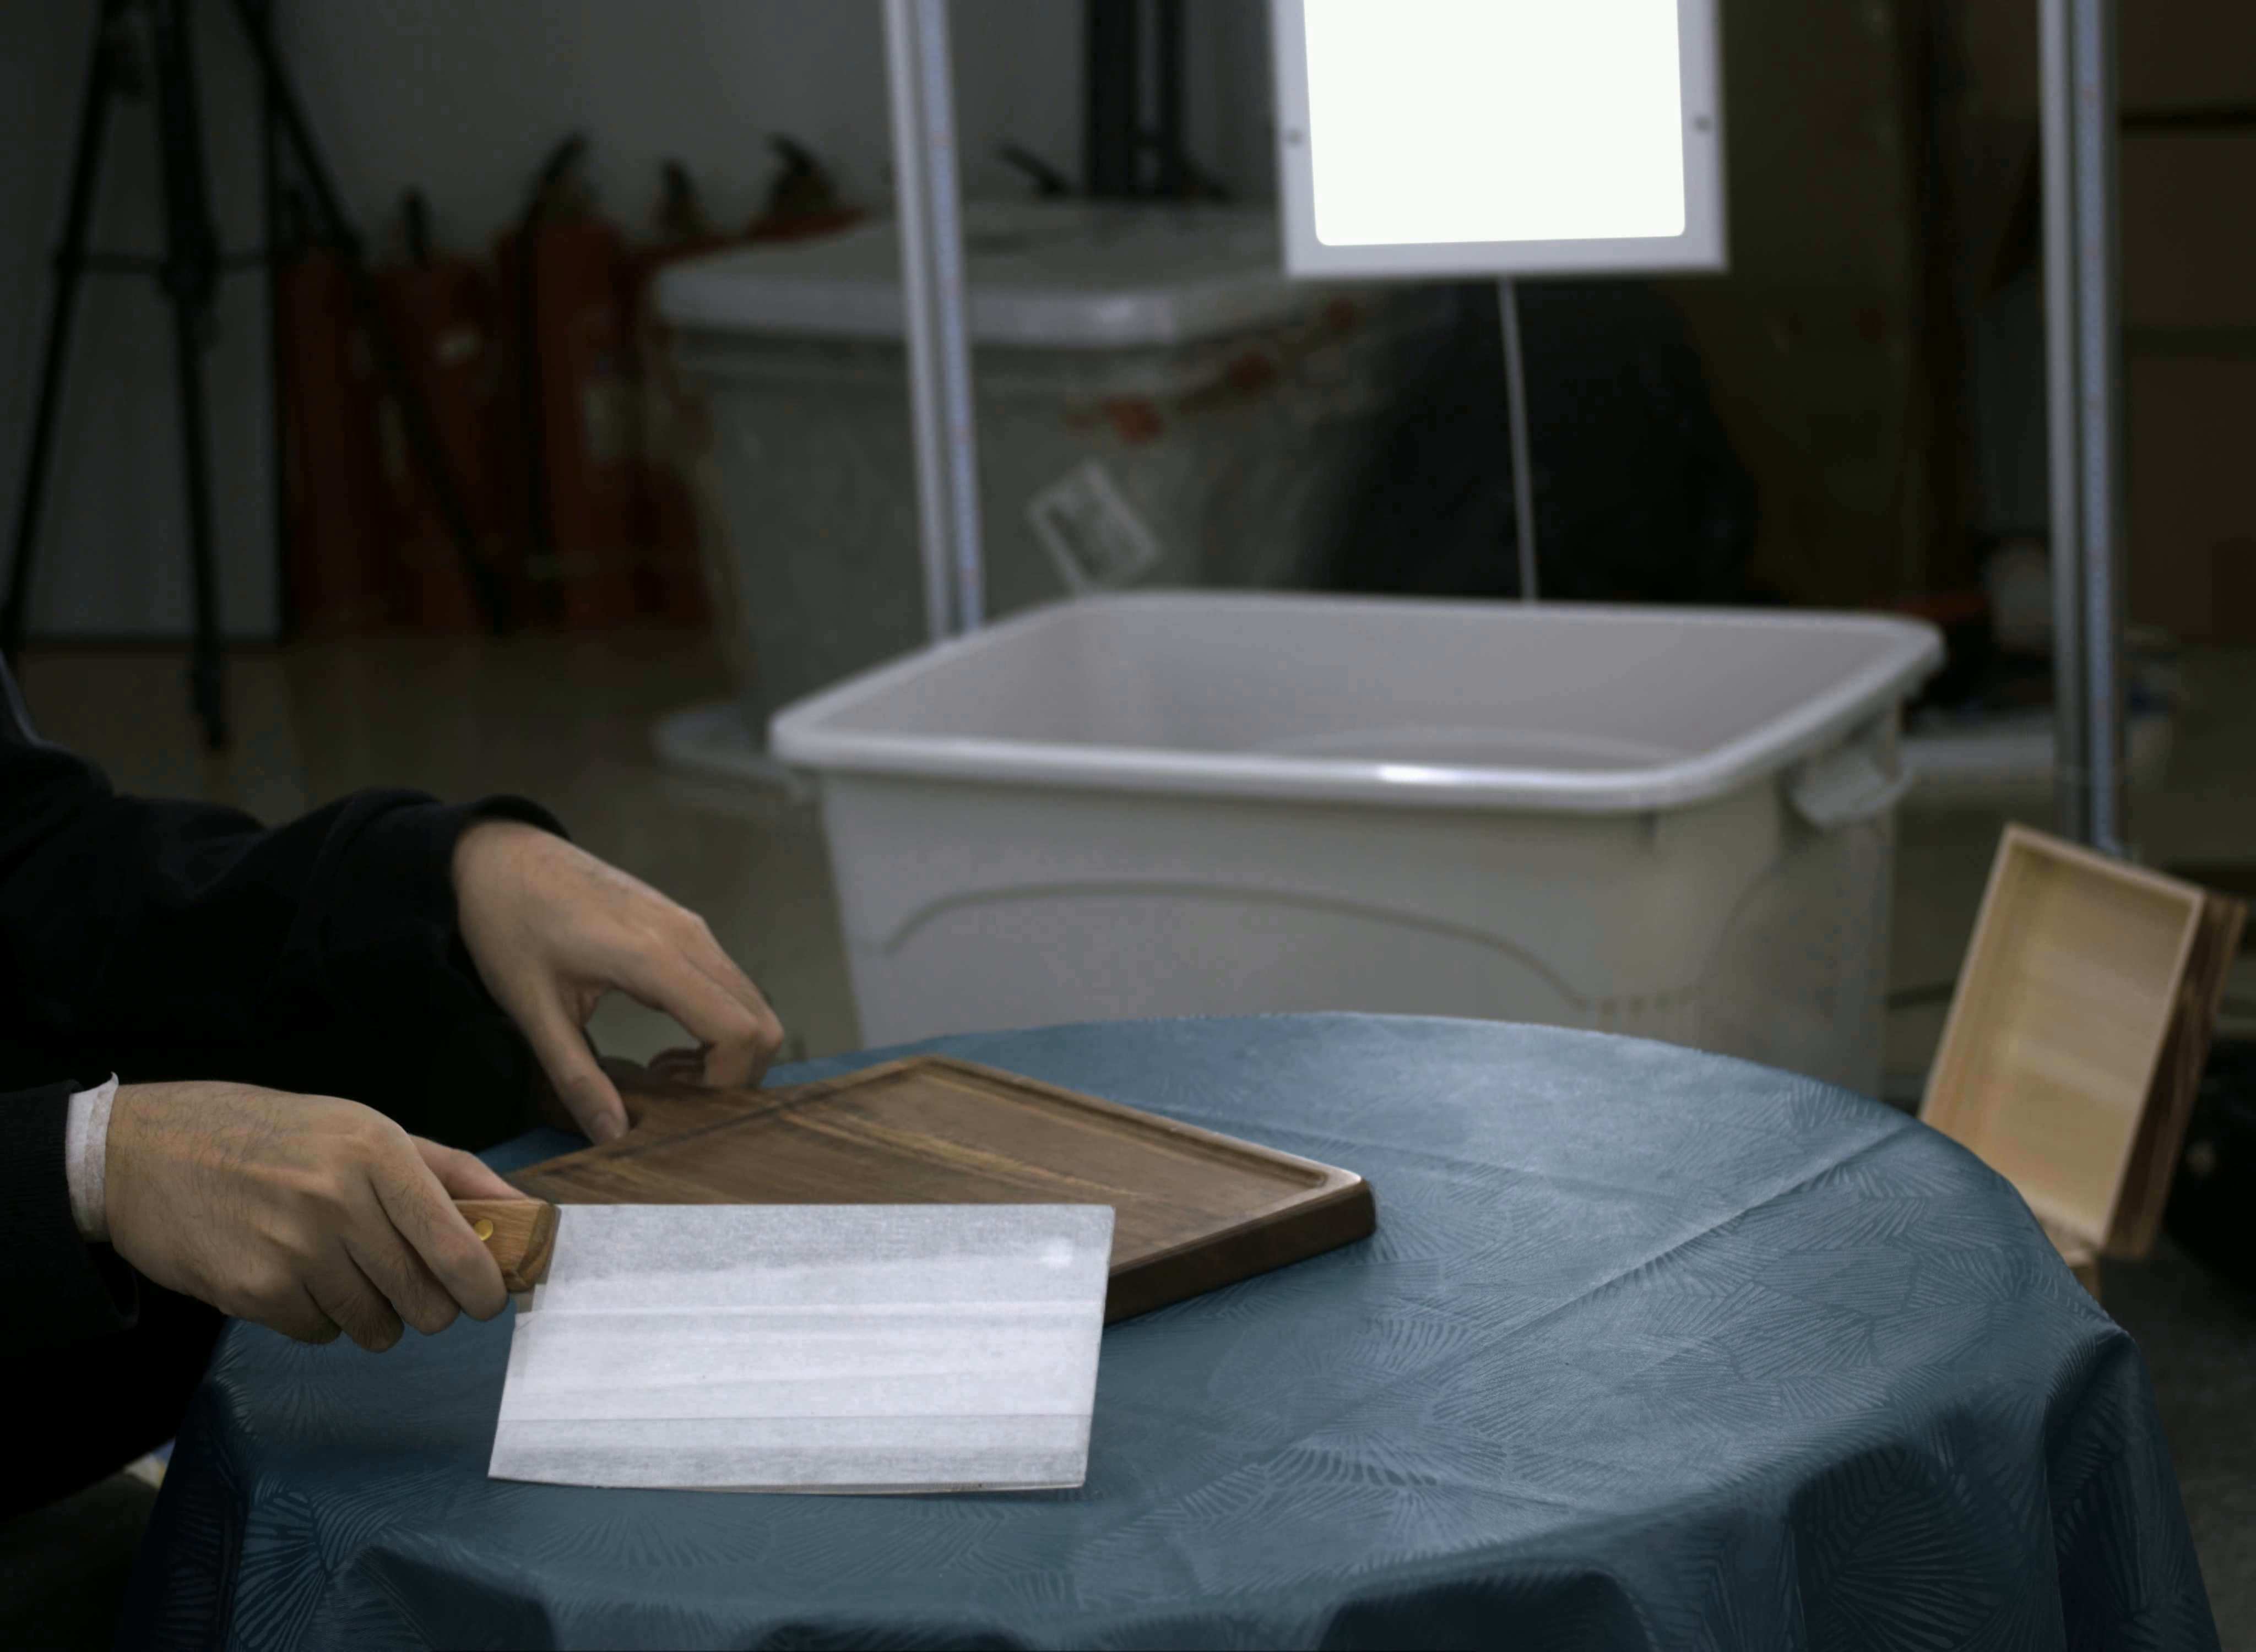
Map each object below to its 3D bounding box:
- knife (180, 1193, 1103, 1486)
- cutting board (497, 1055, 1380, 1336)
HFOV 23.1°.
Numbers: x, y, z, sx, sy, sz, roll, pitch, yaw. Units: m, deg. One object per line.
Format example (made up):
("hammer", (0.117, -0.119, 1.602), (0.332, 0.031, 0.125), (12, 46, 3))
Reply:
("knife", (-0.153, 0.156, 1.680), (0.309, 0.092, 0.021), (-1, -25, 19))
("cutting board", (-0.098, 0.122, 1.909), (0.196, 0.023, 0.359), (-15, 17, -36))
